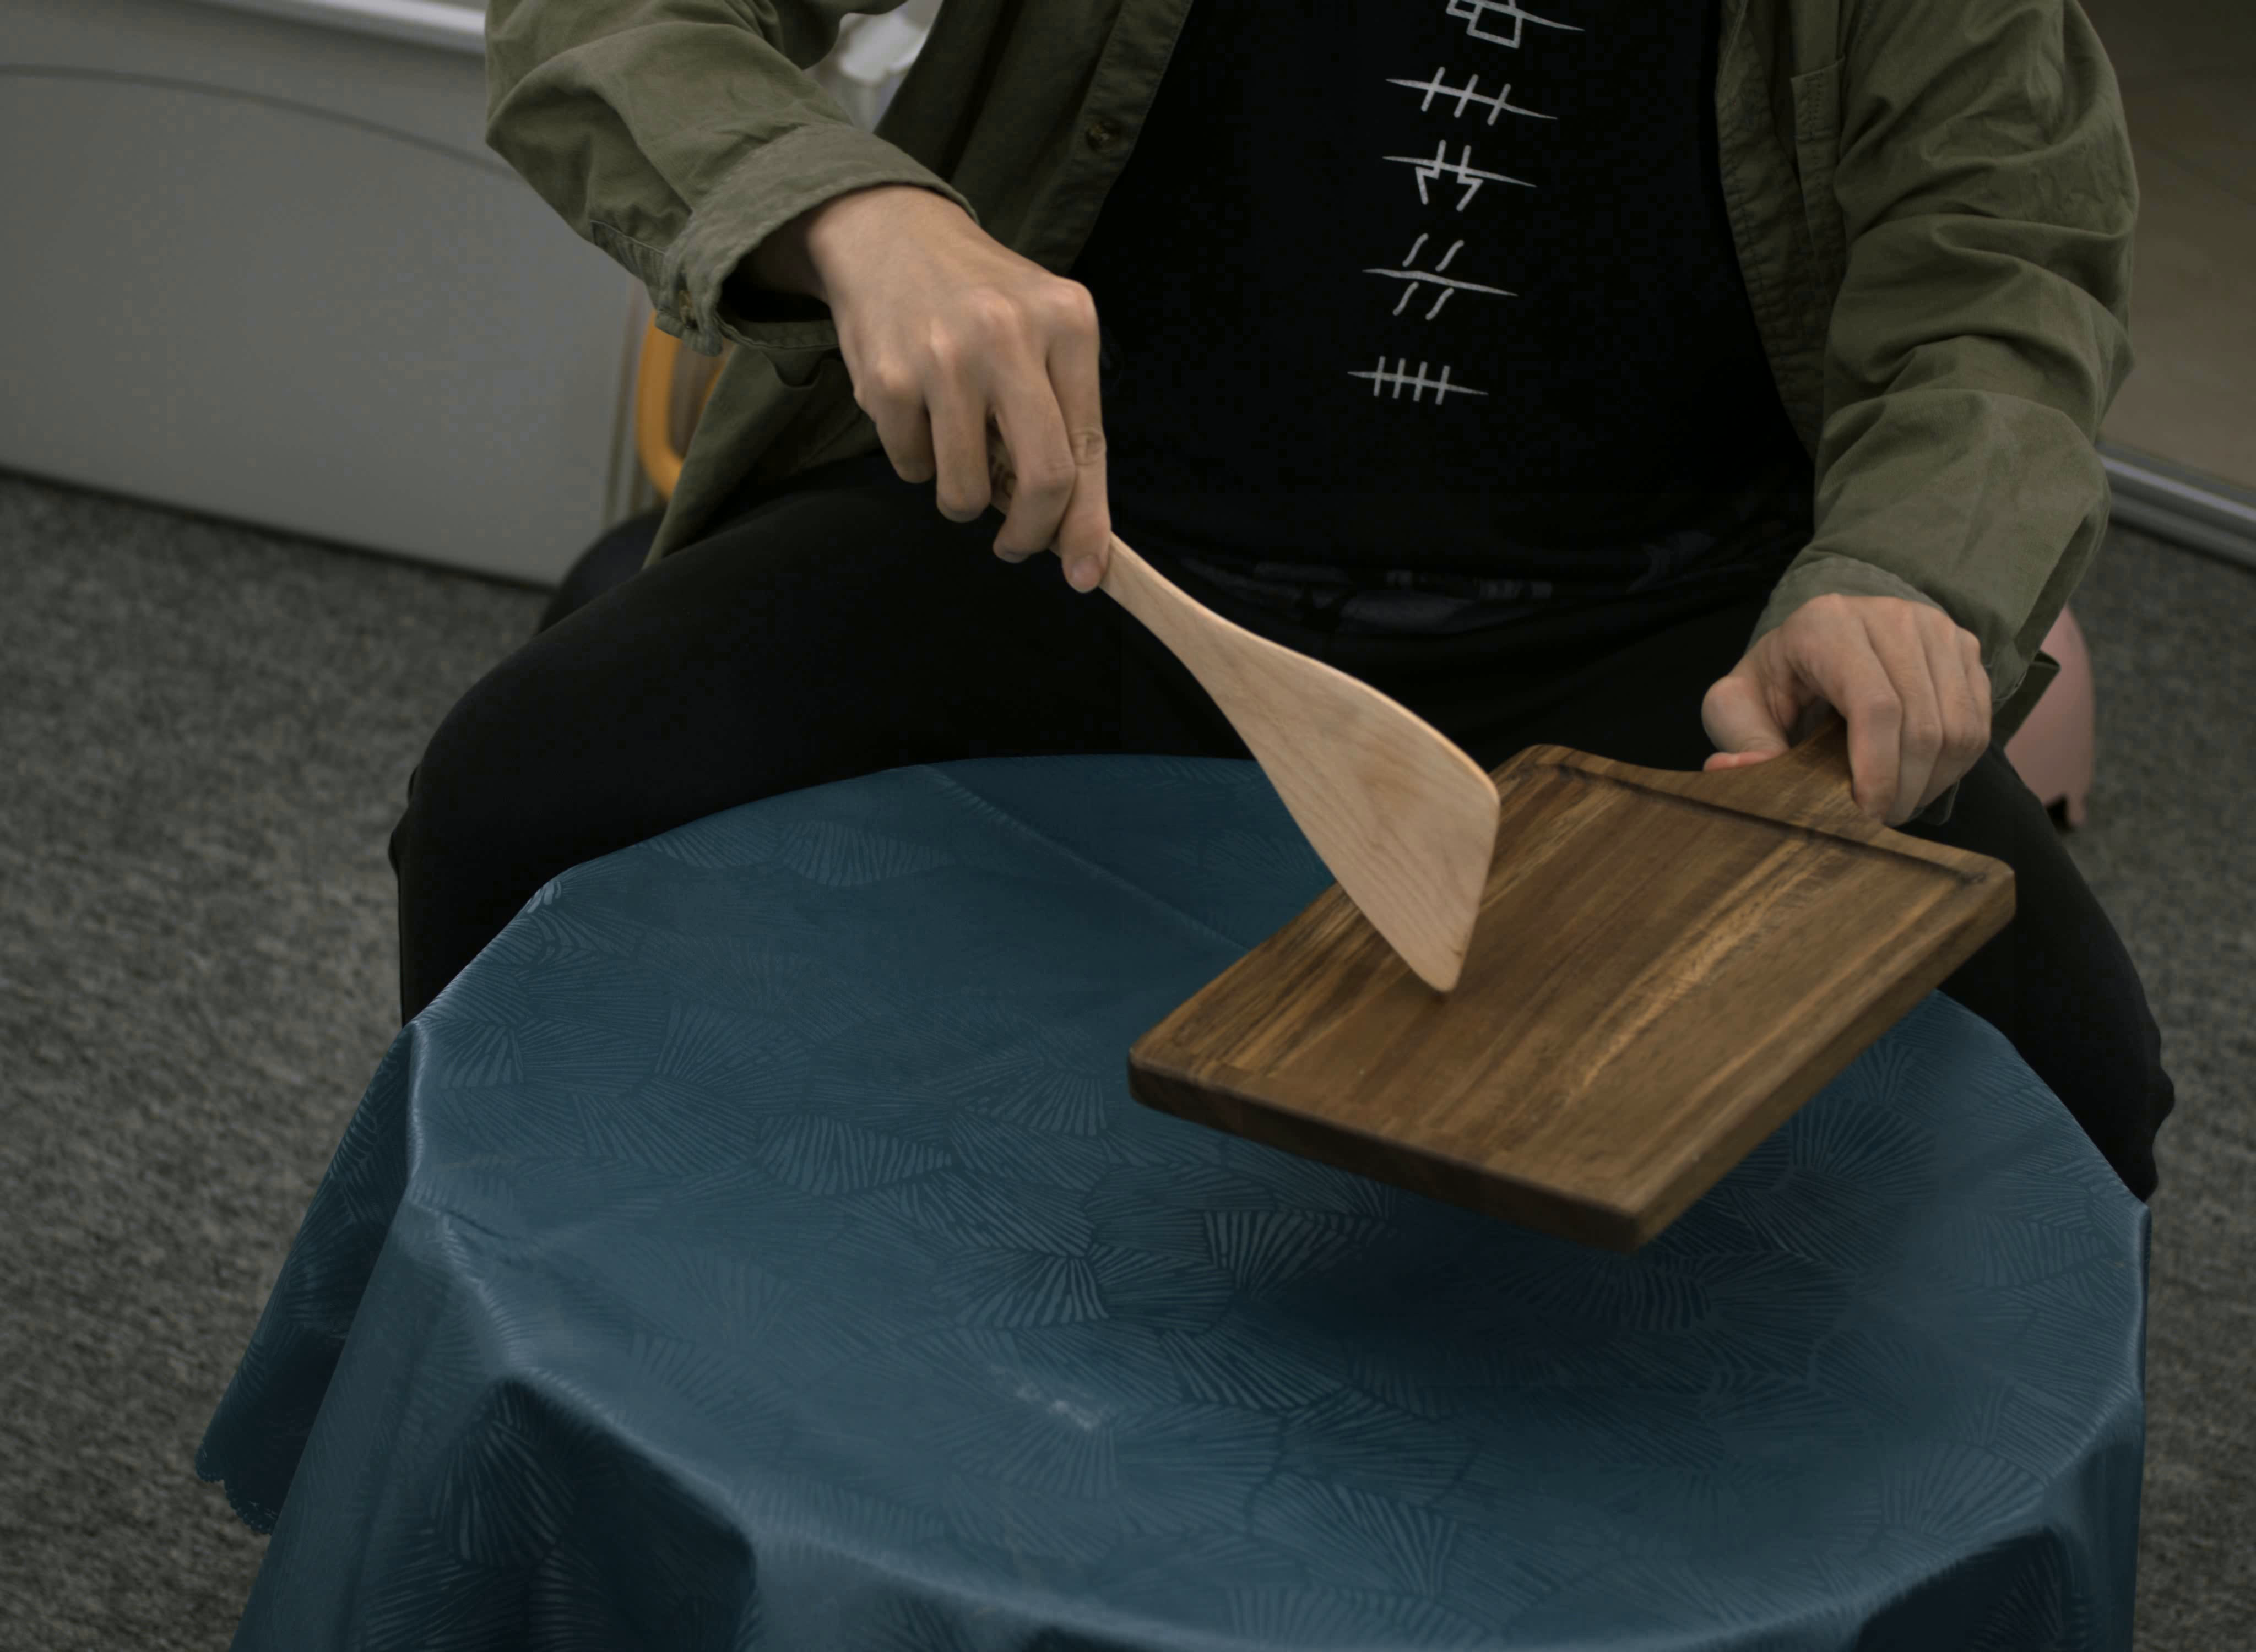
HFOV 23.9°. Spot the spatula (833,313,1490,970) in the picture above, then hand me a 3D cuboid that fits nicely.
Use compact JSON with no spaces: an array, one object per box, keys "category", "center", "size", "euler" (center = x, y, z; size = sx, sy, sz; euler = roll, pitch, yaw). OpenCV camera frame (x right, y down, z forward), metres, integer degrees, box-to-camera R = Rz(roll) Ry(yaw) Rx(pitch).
[{"category":"spatula","center":[0.007,-0.077,1.794],"size":[0.016,0.080,0.330],"euler":[-21,52,-43]}]

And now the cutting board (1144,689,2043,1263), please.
[{"category":"cutting board","center":[0.185,0.033,1.774],"size":[0.202,0.023,0.351],"euler":[16,34,35]}]
